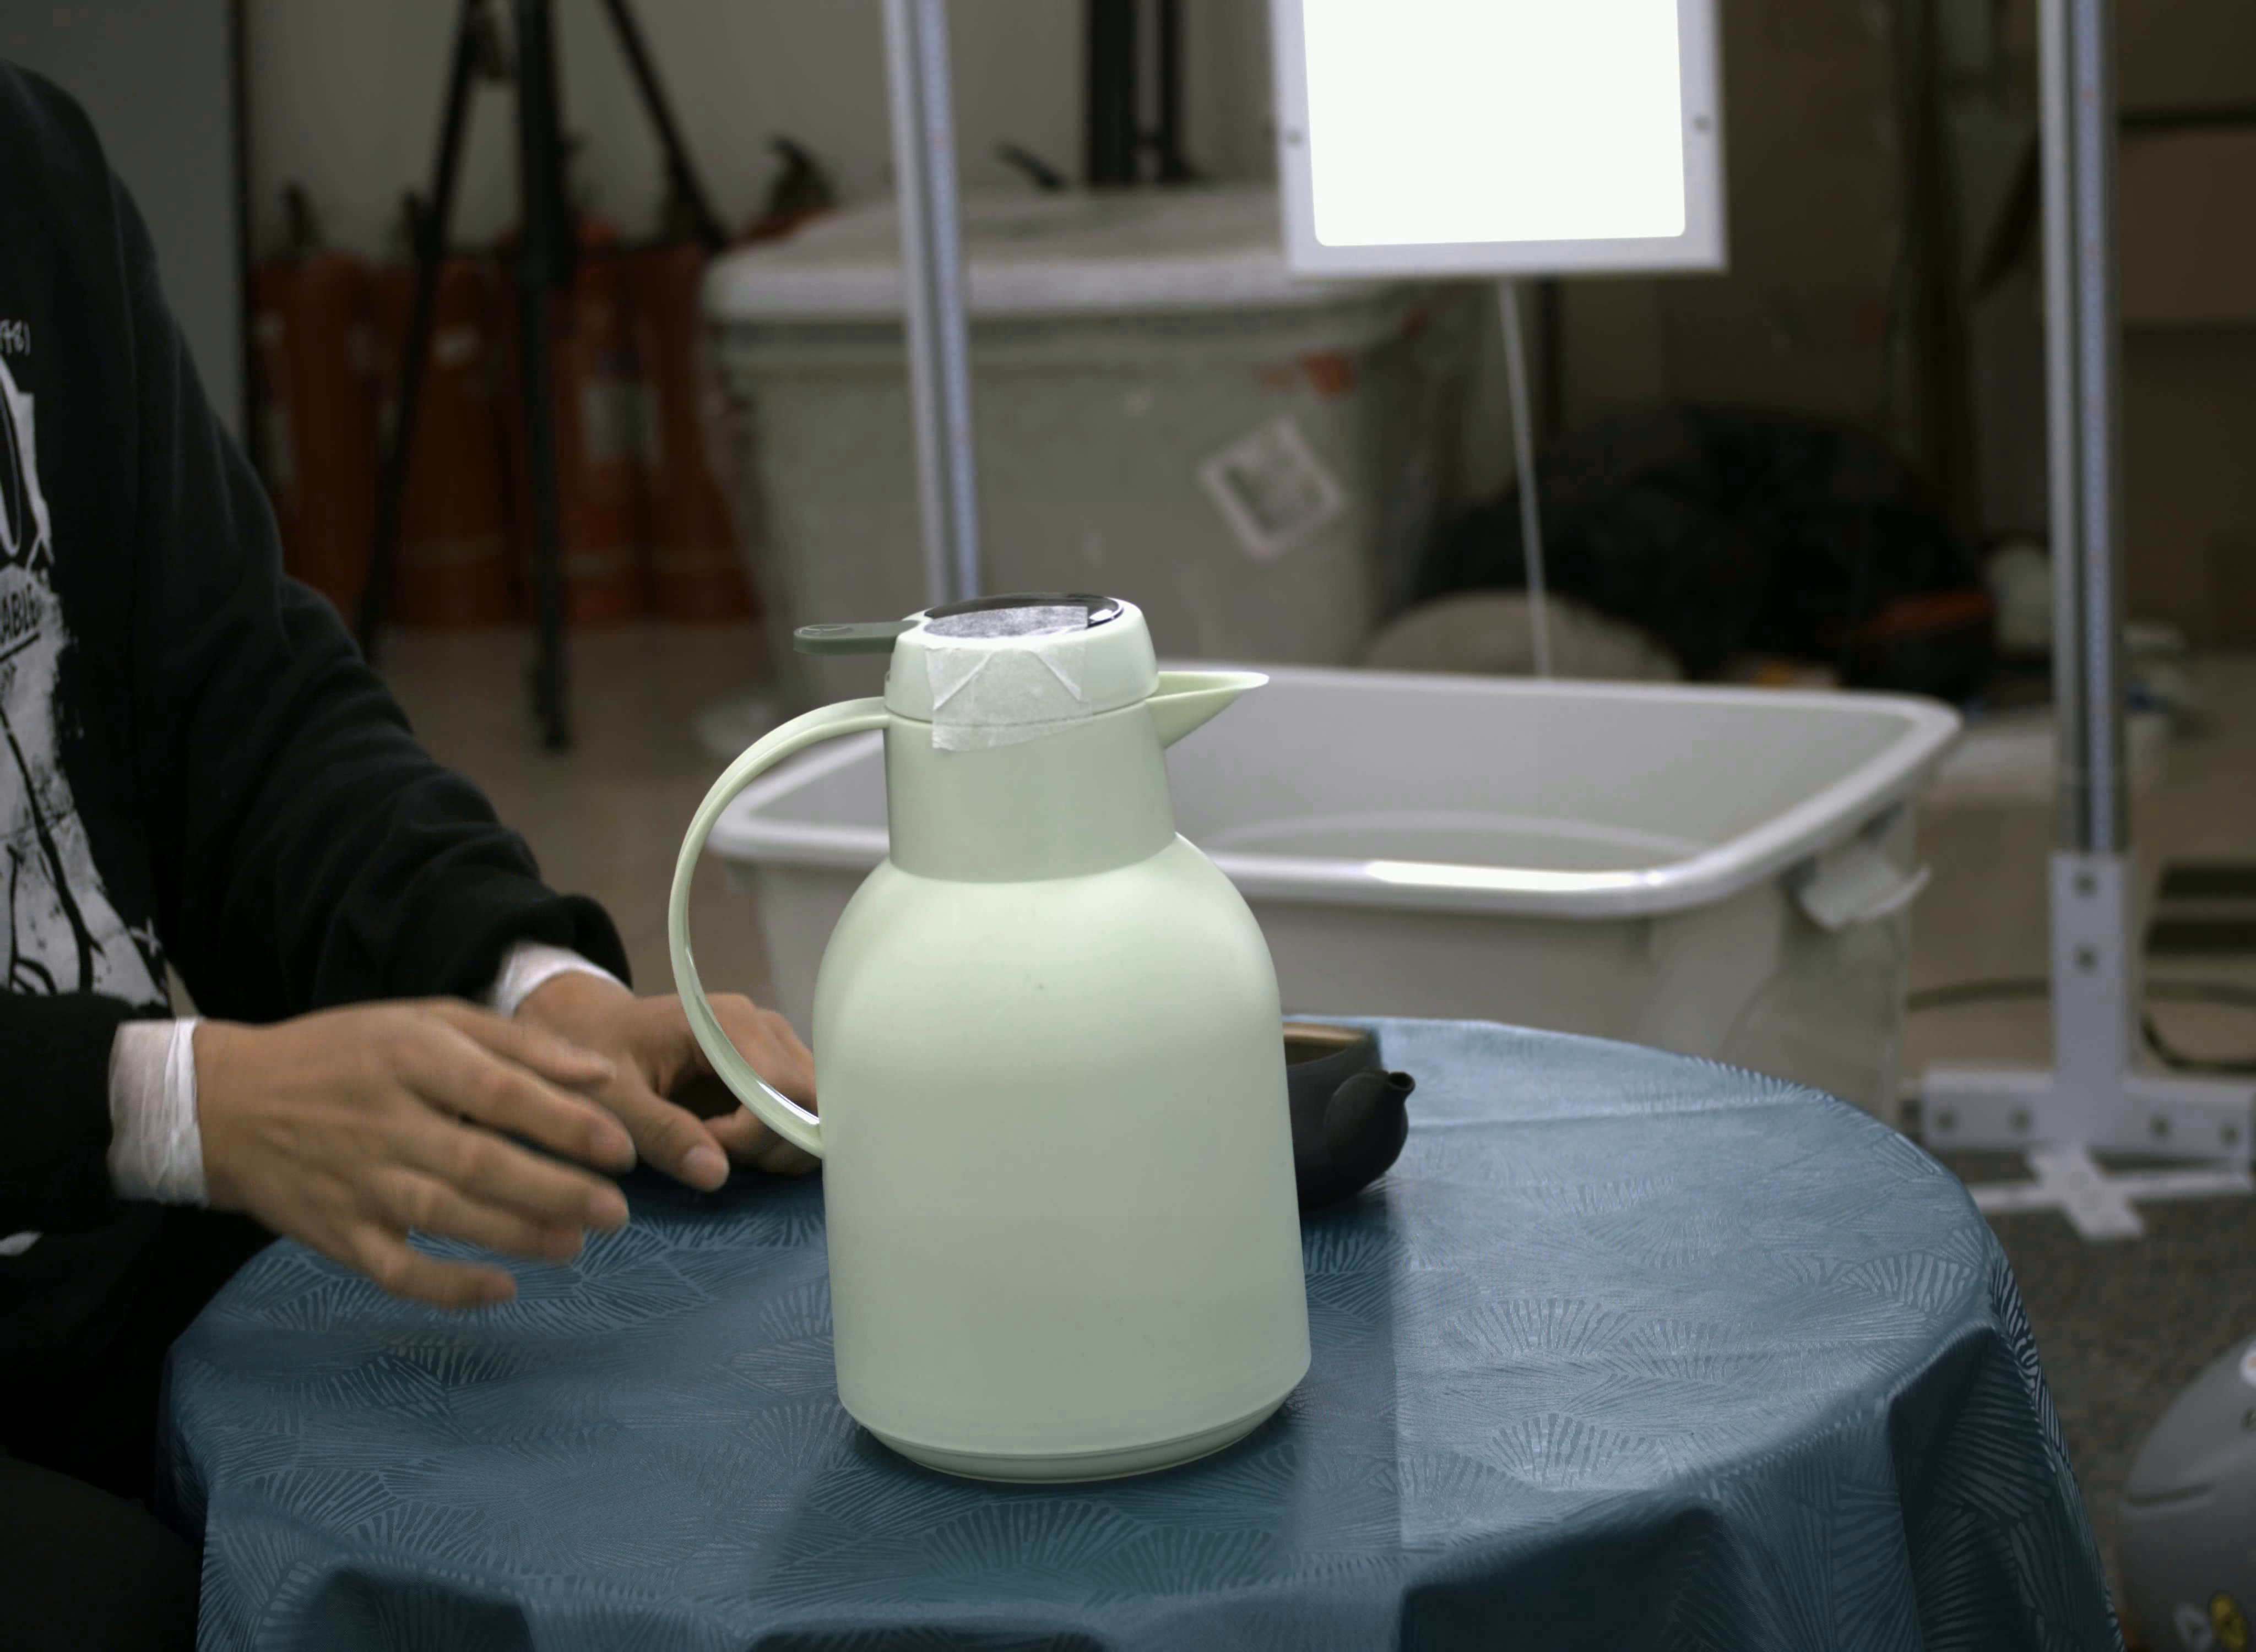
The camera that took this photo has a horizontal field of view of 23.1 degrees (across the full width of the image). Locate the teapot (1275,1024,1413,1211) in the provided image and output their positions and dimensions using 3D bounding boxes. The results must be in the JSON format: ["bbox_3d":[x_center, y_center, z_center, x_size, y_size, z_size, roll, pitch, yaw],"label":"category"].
[{"bbox_3d":[0.049,0.100,1.878,0.088,0.053,0.136,-15,17,-41],"label":"teapot"}]

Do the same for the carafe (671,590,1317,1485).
[{"bbox_3d":[-0.038,0.060,1.659,0.186,0.257,0.144,-8,16,2],"label":"carafe"}]
